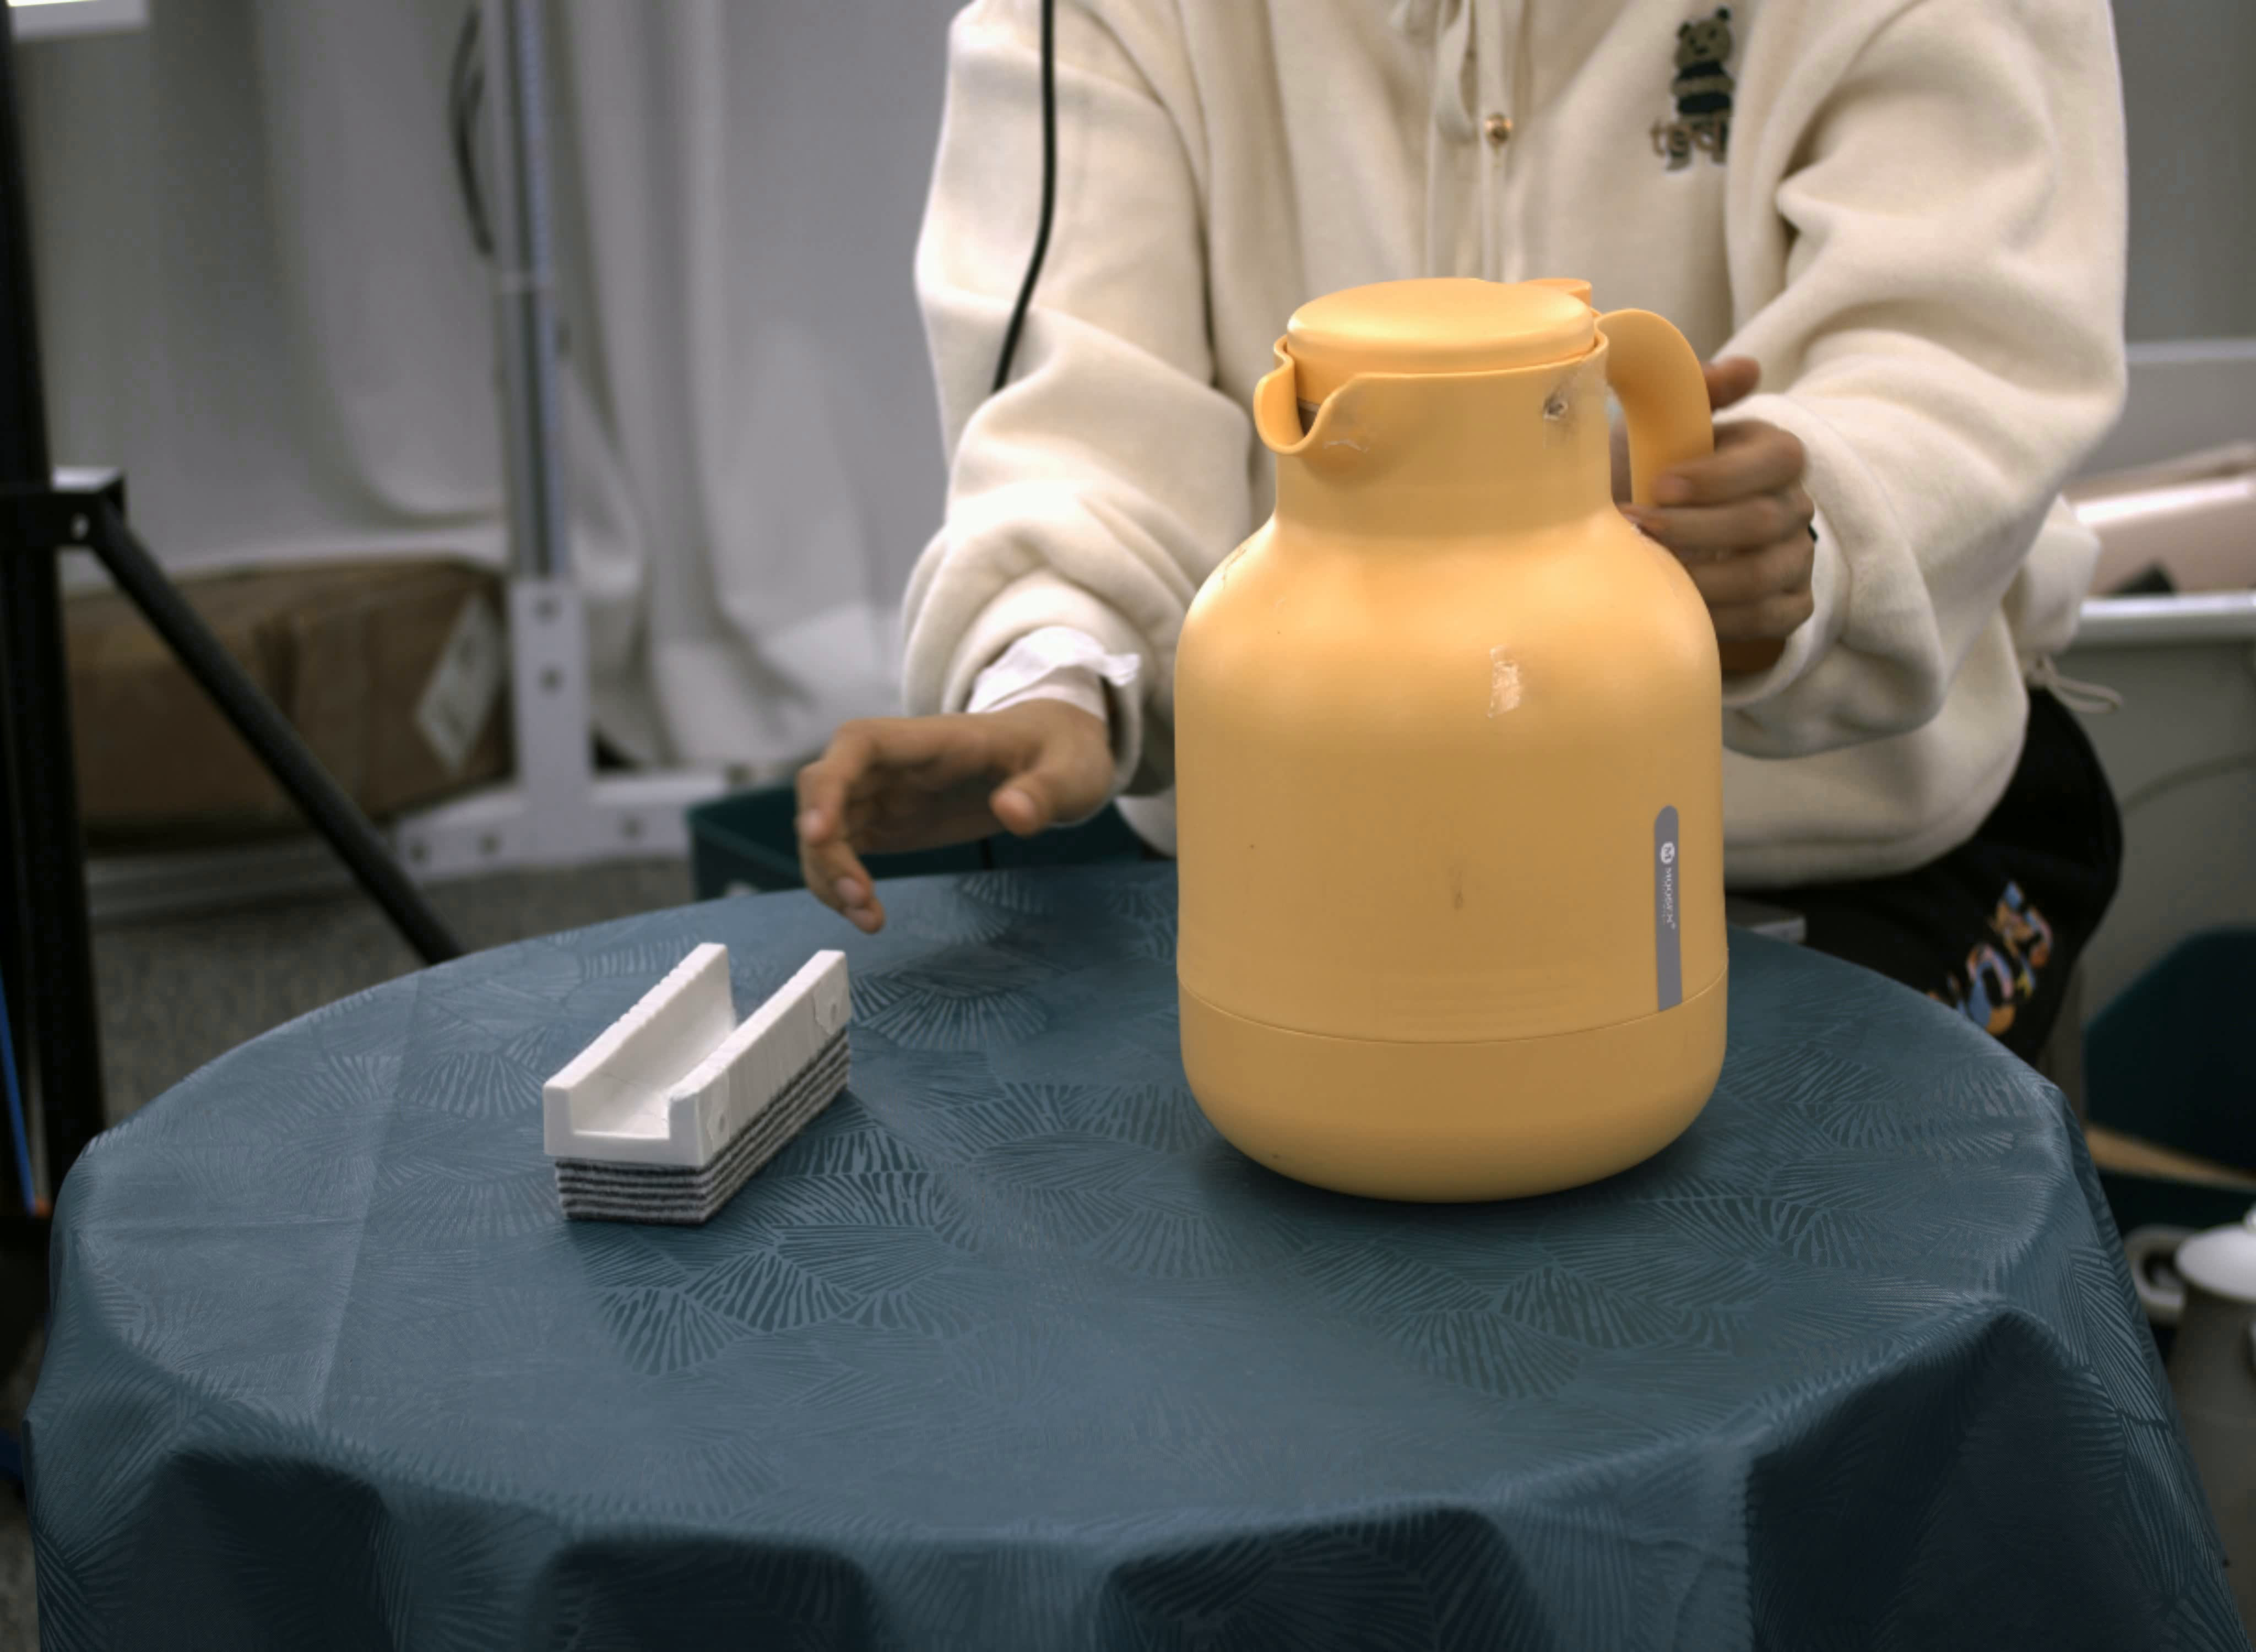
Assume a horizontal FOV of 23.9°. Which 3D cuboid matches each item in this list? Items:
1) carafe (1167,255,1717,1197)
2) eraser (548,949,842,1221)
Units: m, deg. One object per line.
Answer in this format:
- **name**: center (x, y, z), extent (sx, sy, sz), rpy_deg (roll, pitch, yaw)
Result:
- **carafe**: center (0.106, -0.036, 1.564), extent (0.167, 0.260, 0.198), rpy_deg (16, 25, 41)
- **eraser**: center (-0.128, 0.076, 1.606), extent (0.050, 0.046, 0.133), rpy_deg (-2, 16, 15)
